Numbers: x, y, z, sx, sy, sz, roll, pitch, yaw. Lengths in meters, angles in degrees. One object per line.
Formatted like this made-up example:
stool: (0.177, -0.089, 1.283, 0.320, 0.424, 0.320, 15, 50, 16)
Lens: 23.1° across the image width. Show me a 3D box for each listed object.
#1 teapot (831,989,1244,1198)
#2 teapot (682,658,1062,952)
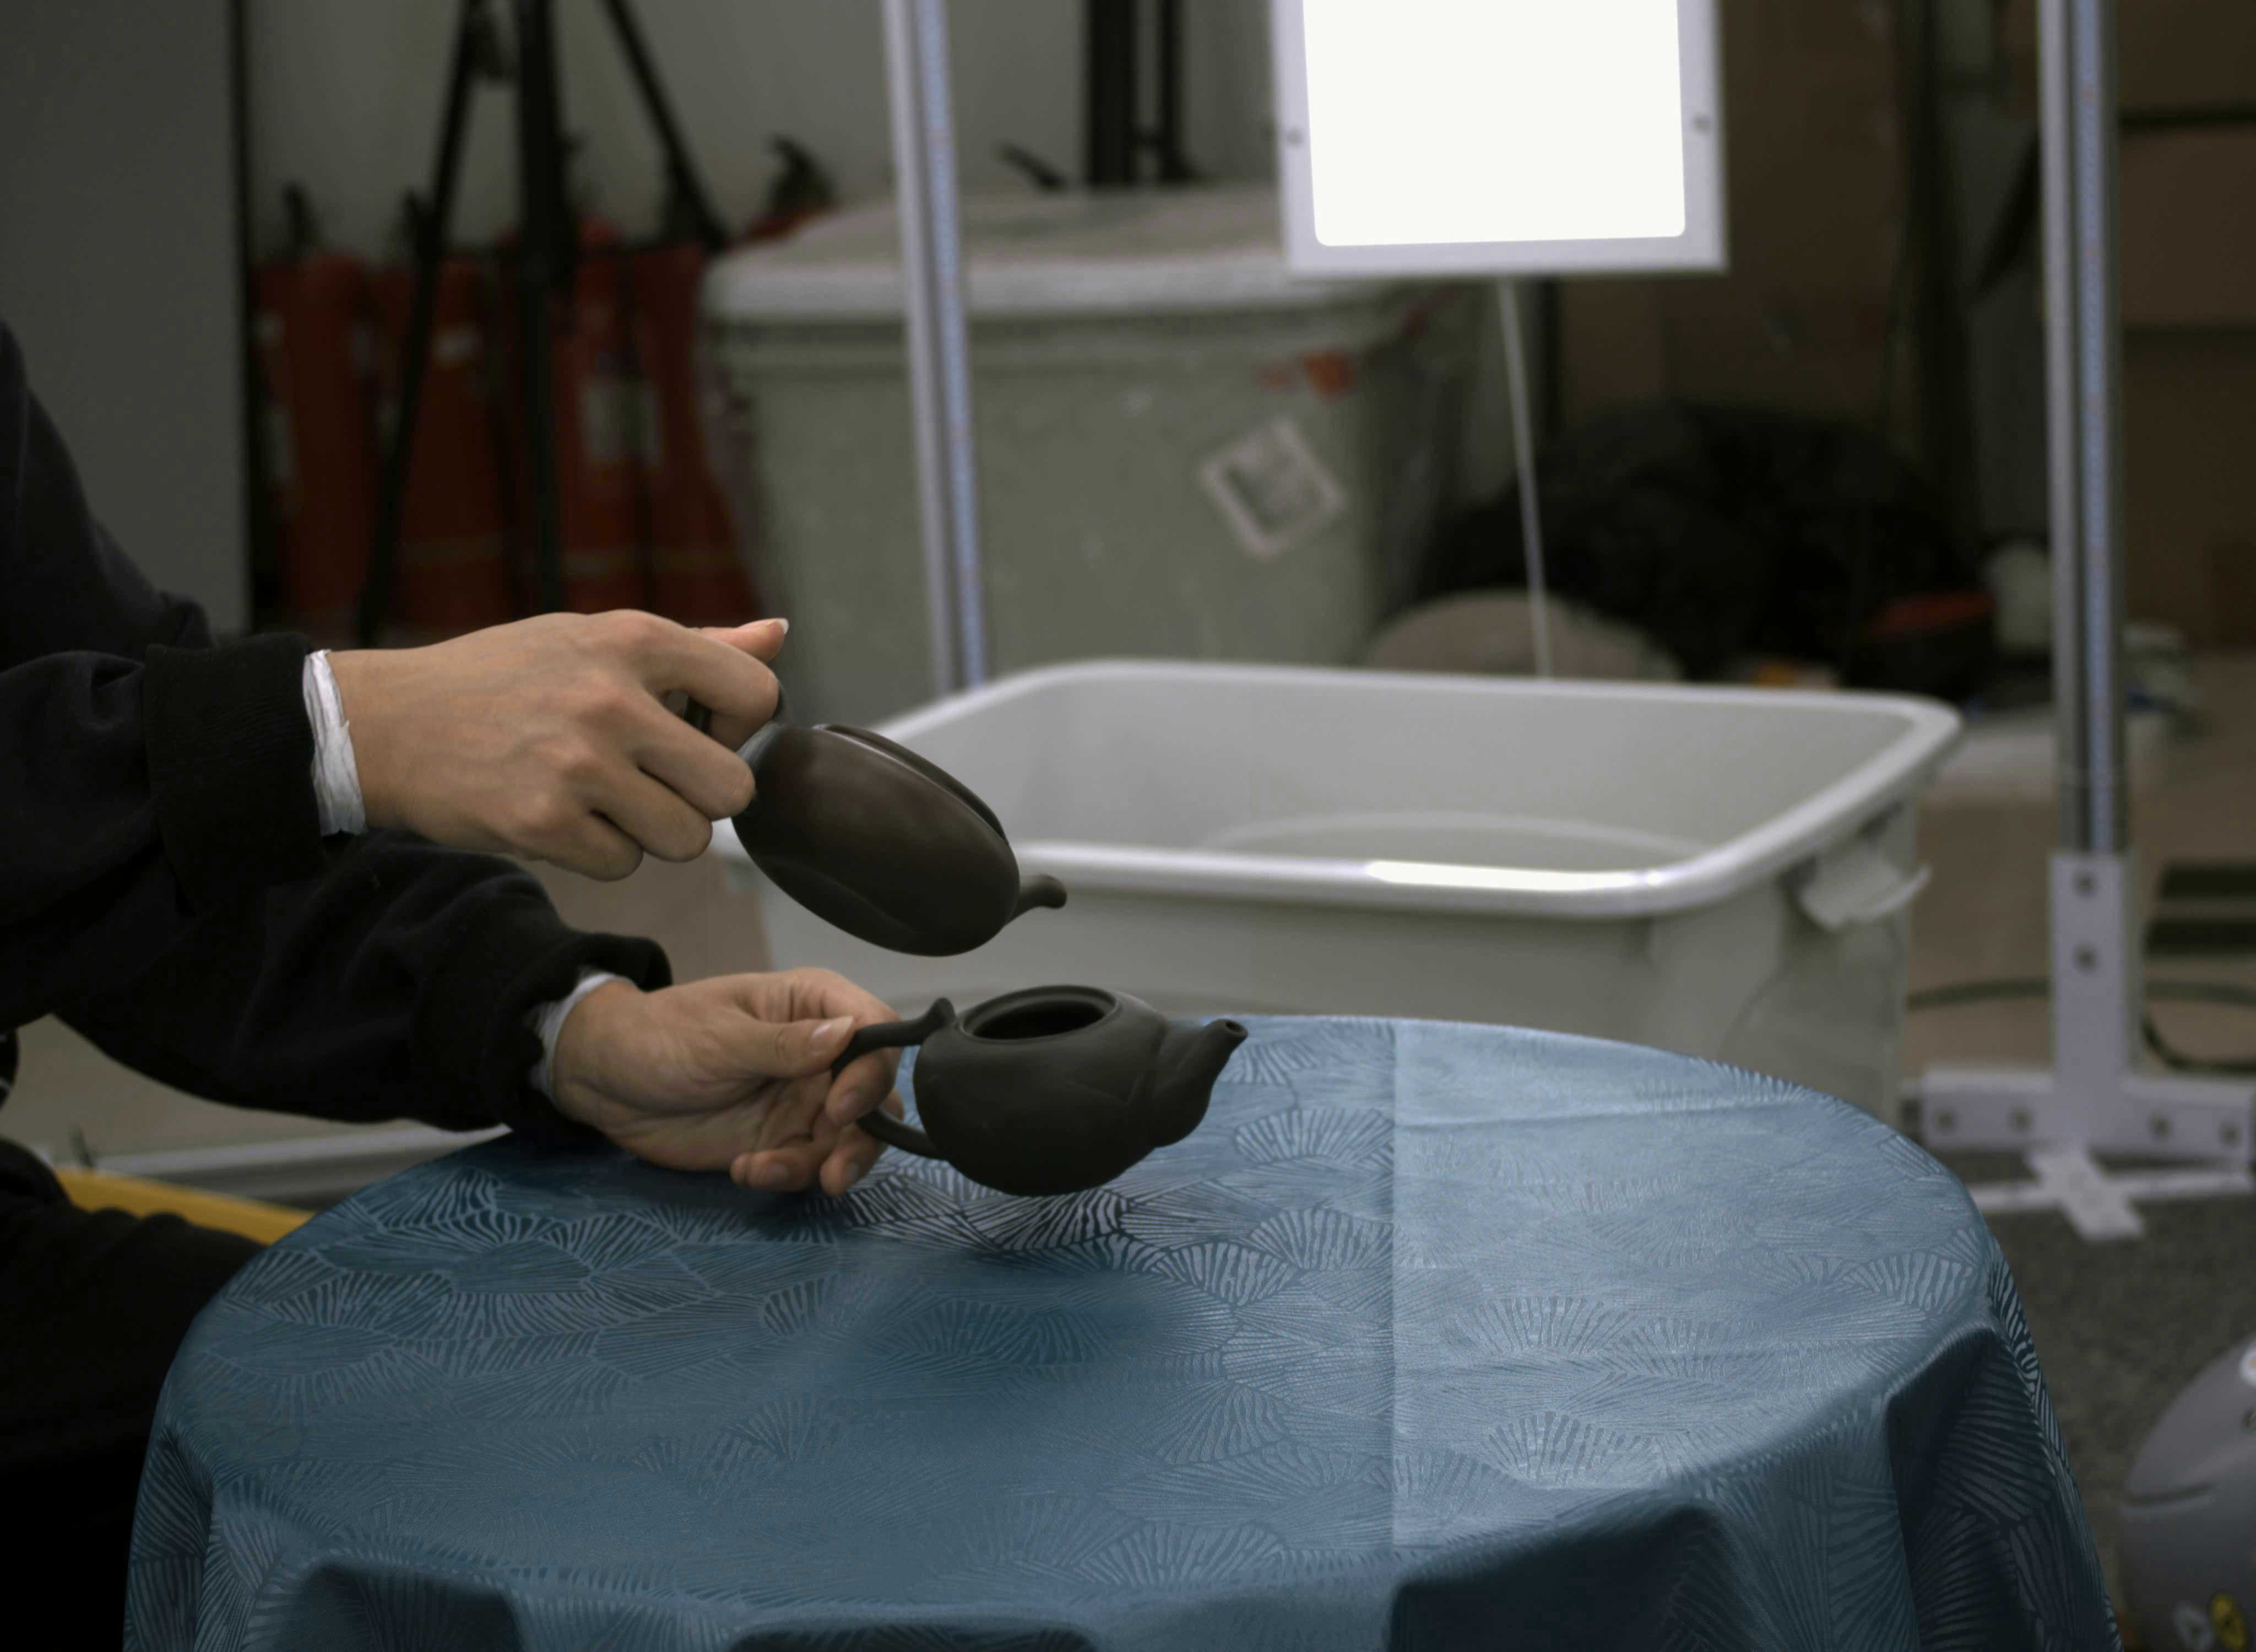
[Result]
teapot: (-0.031, 0.089, 1.875, 0.156, 0.064, 0.090, -1, 15, 24)
teapot: (-0.085, -0.001, 1.788, 0.105, 0.151, 0.053, 3, 59, 54)
